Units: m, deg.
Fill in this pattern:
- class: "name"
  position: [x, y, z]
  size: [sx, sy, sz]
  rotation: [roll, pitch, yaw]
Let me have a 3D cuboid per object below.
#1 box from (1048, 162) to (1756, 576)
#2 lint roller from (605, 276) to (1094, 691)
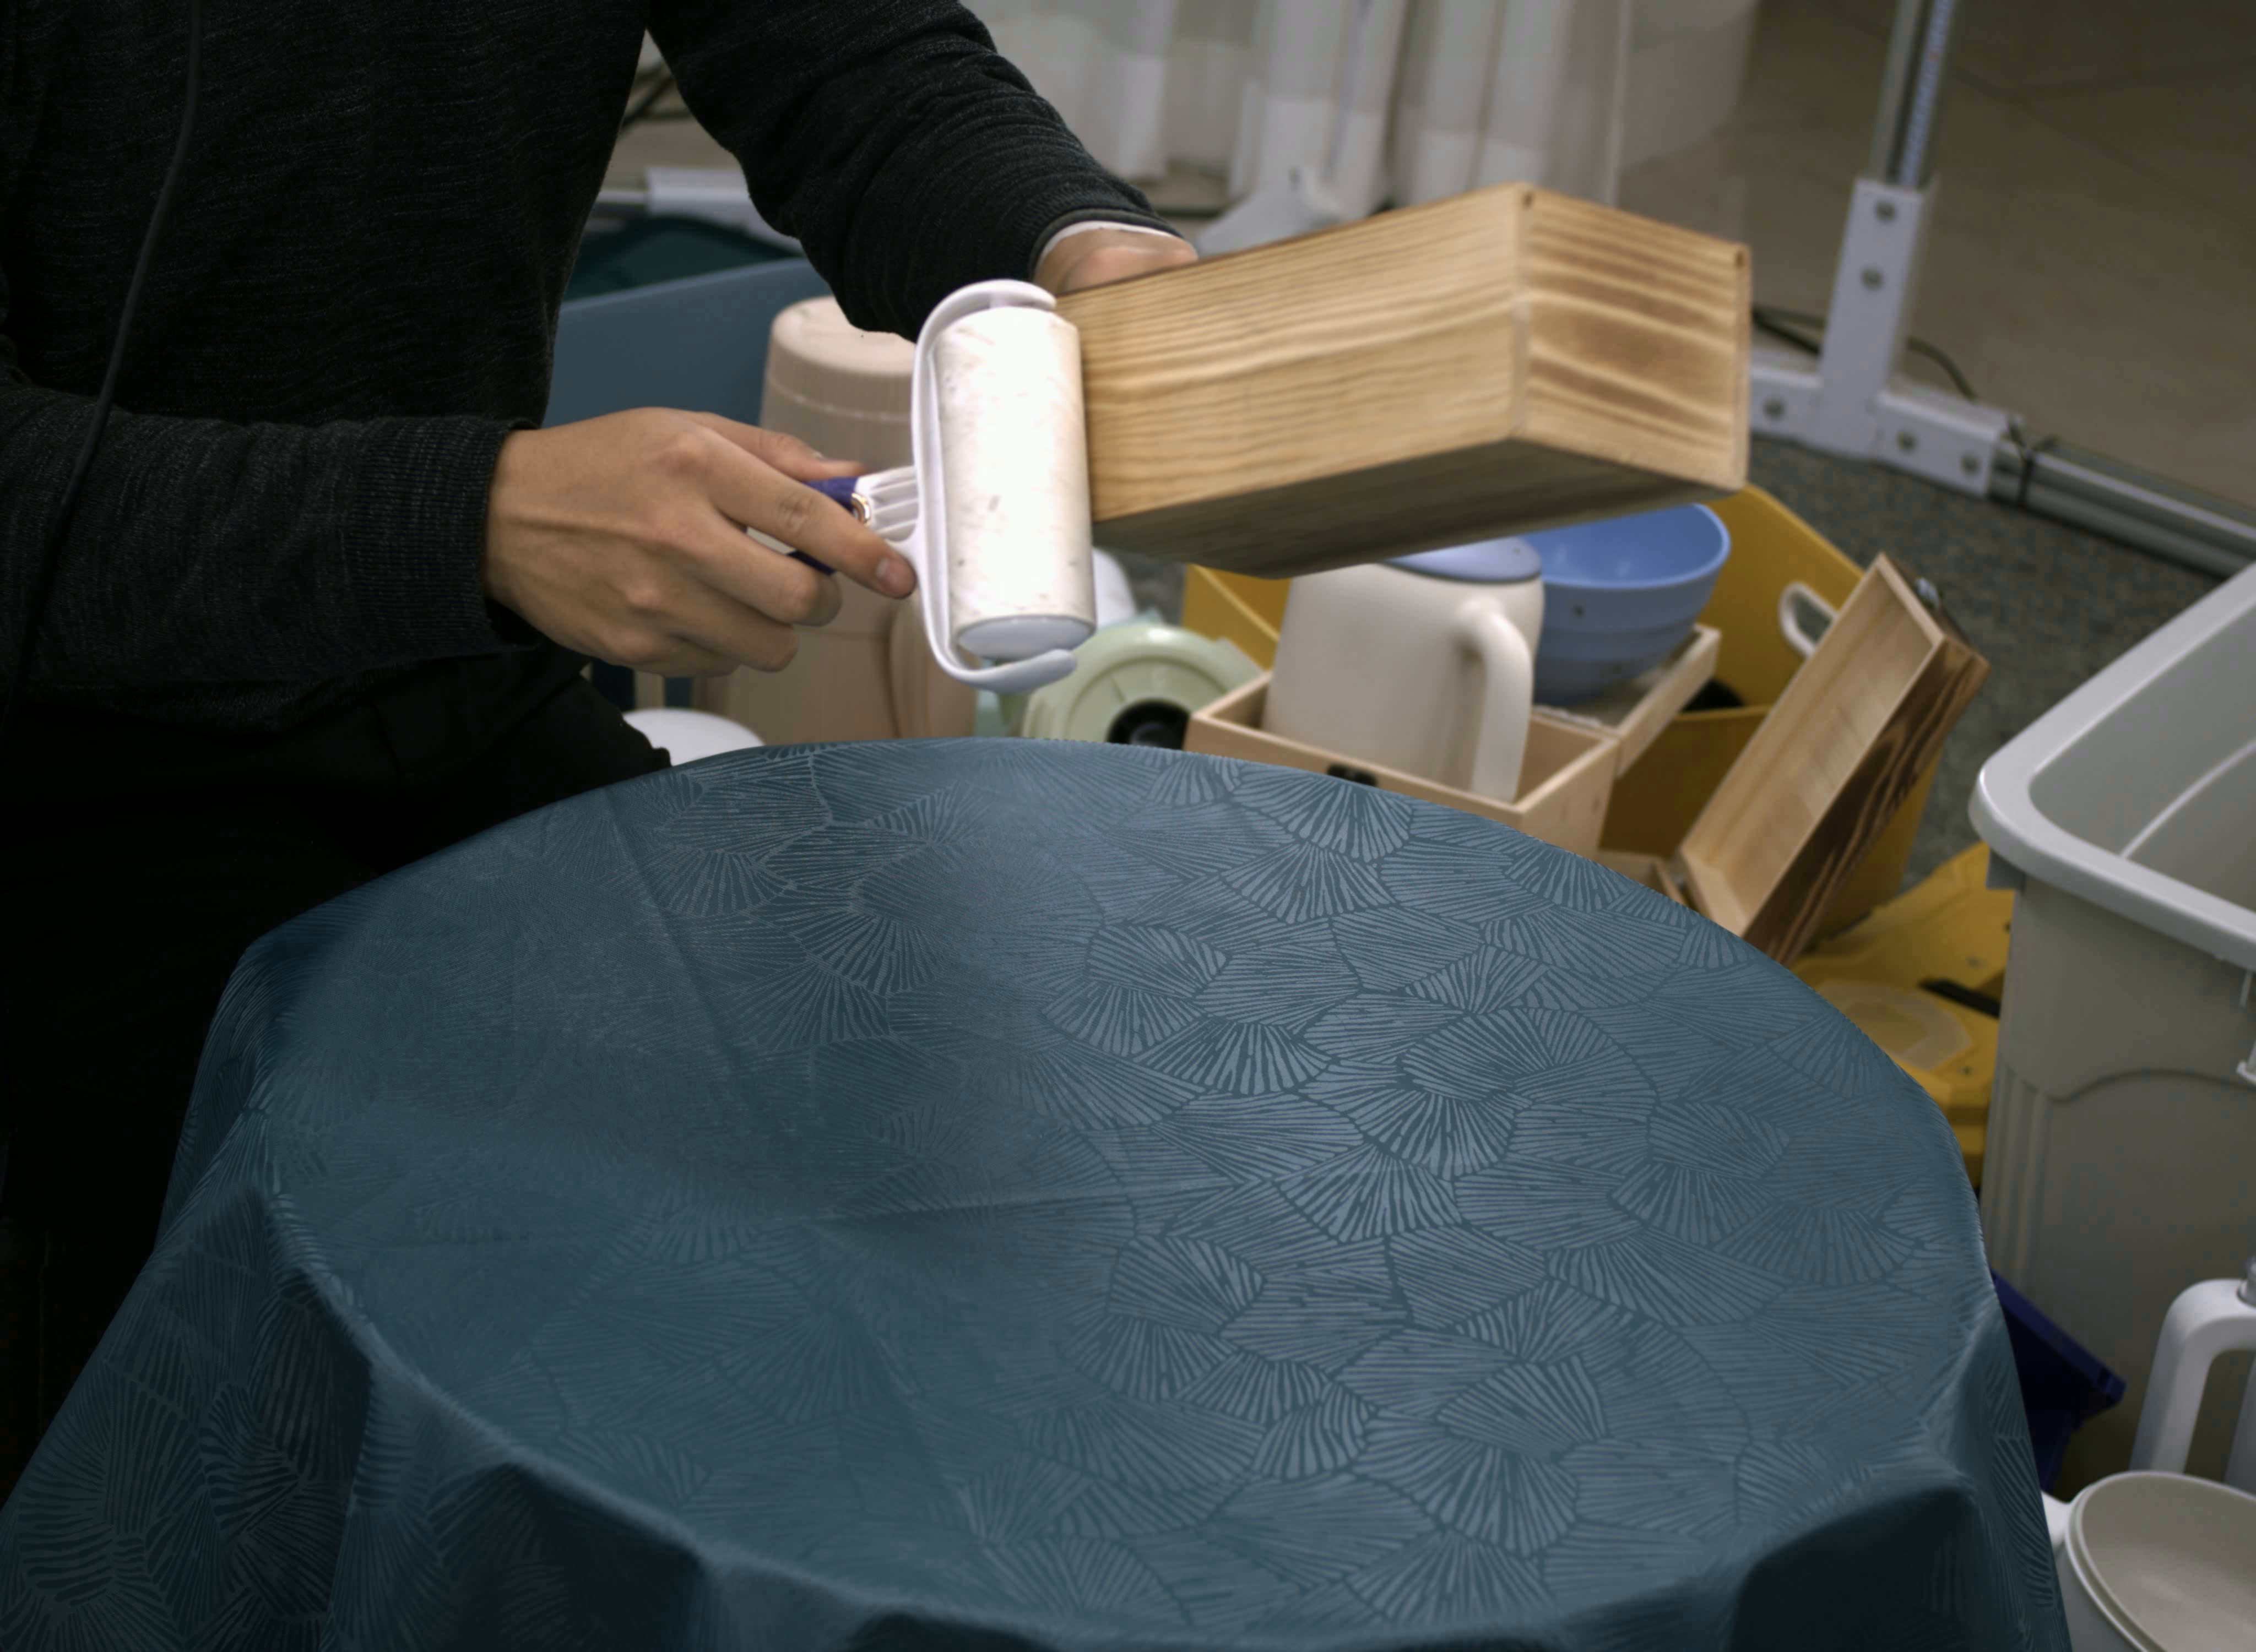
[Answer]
- class: "box"
  position: [0.083, -0.140, 1.676]
  size: [0.106, 0.080, 0.212]
  rotation: [9, -13, -42]
- class: "lint roller"
  position: [-0.097, -0.102, 1.718]
  size: [0.181, 0.133, 0.050]
  rotation: [-7, -13, 22]
